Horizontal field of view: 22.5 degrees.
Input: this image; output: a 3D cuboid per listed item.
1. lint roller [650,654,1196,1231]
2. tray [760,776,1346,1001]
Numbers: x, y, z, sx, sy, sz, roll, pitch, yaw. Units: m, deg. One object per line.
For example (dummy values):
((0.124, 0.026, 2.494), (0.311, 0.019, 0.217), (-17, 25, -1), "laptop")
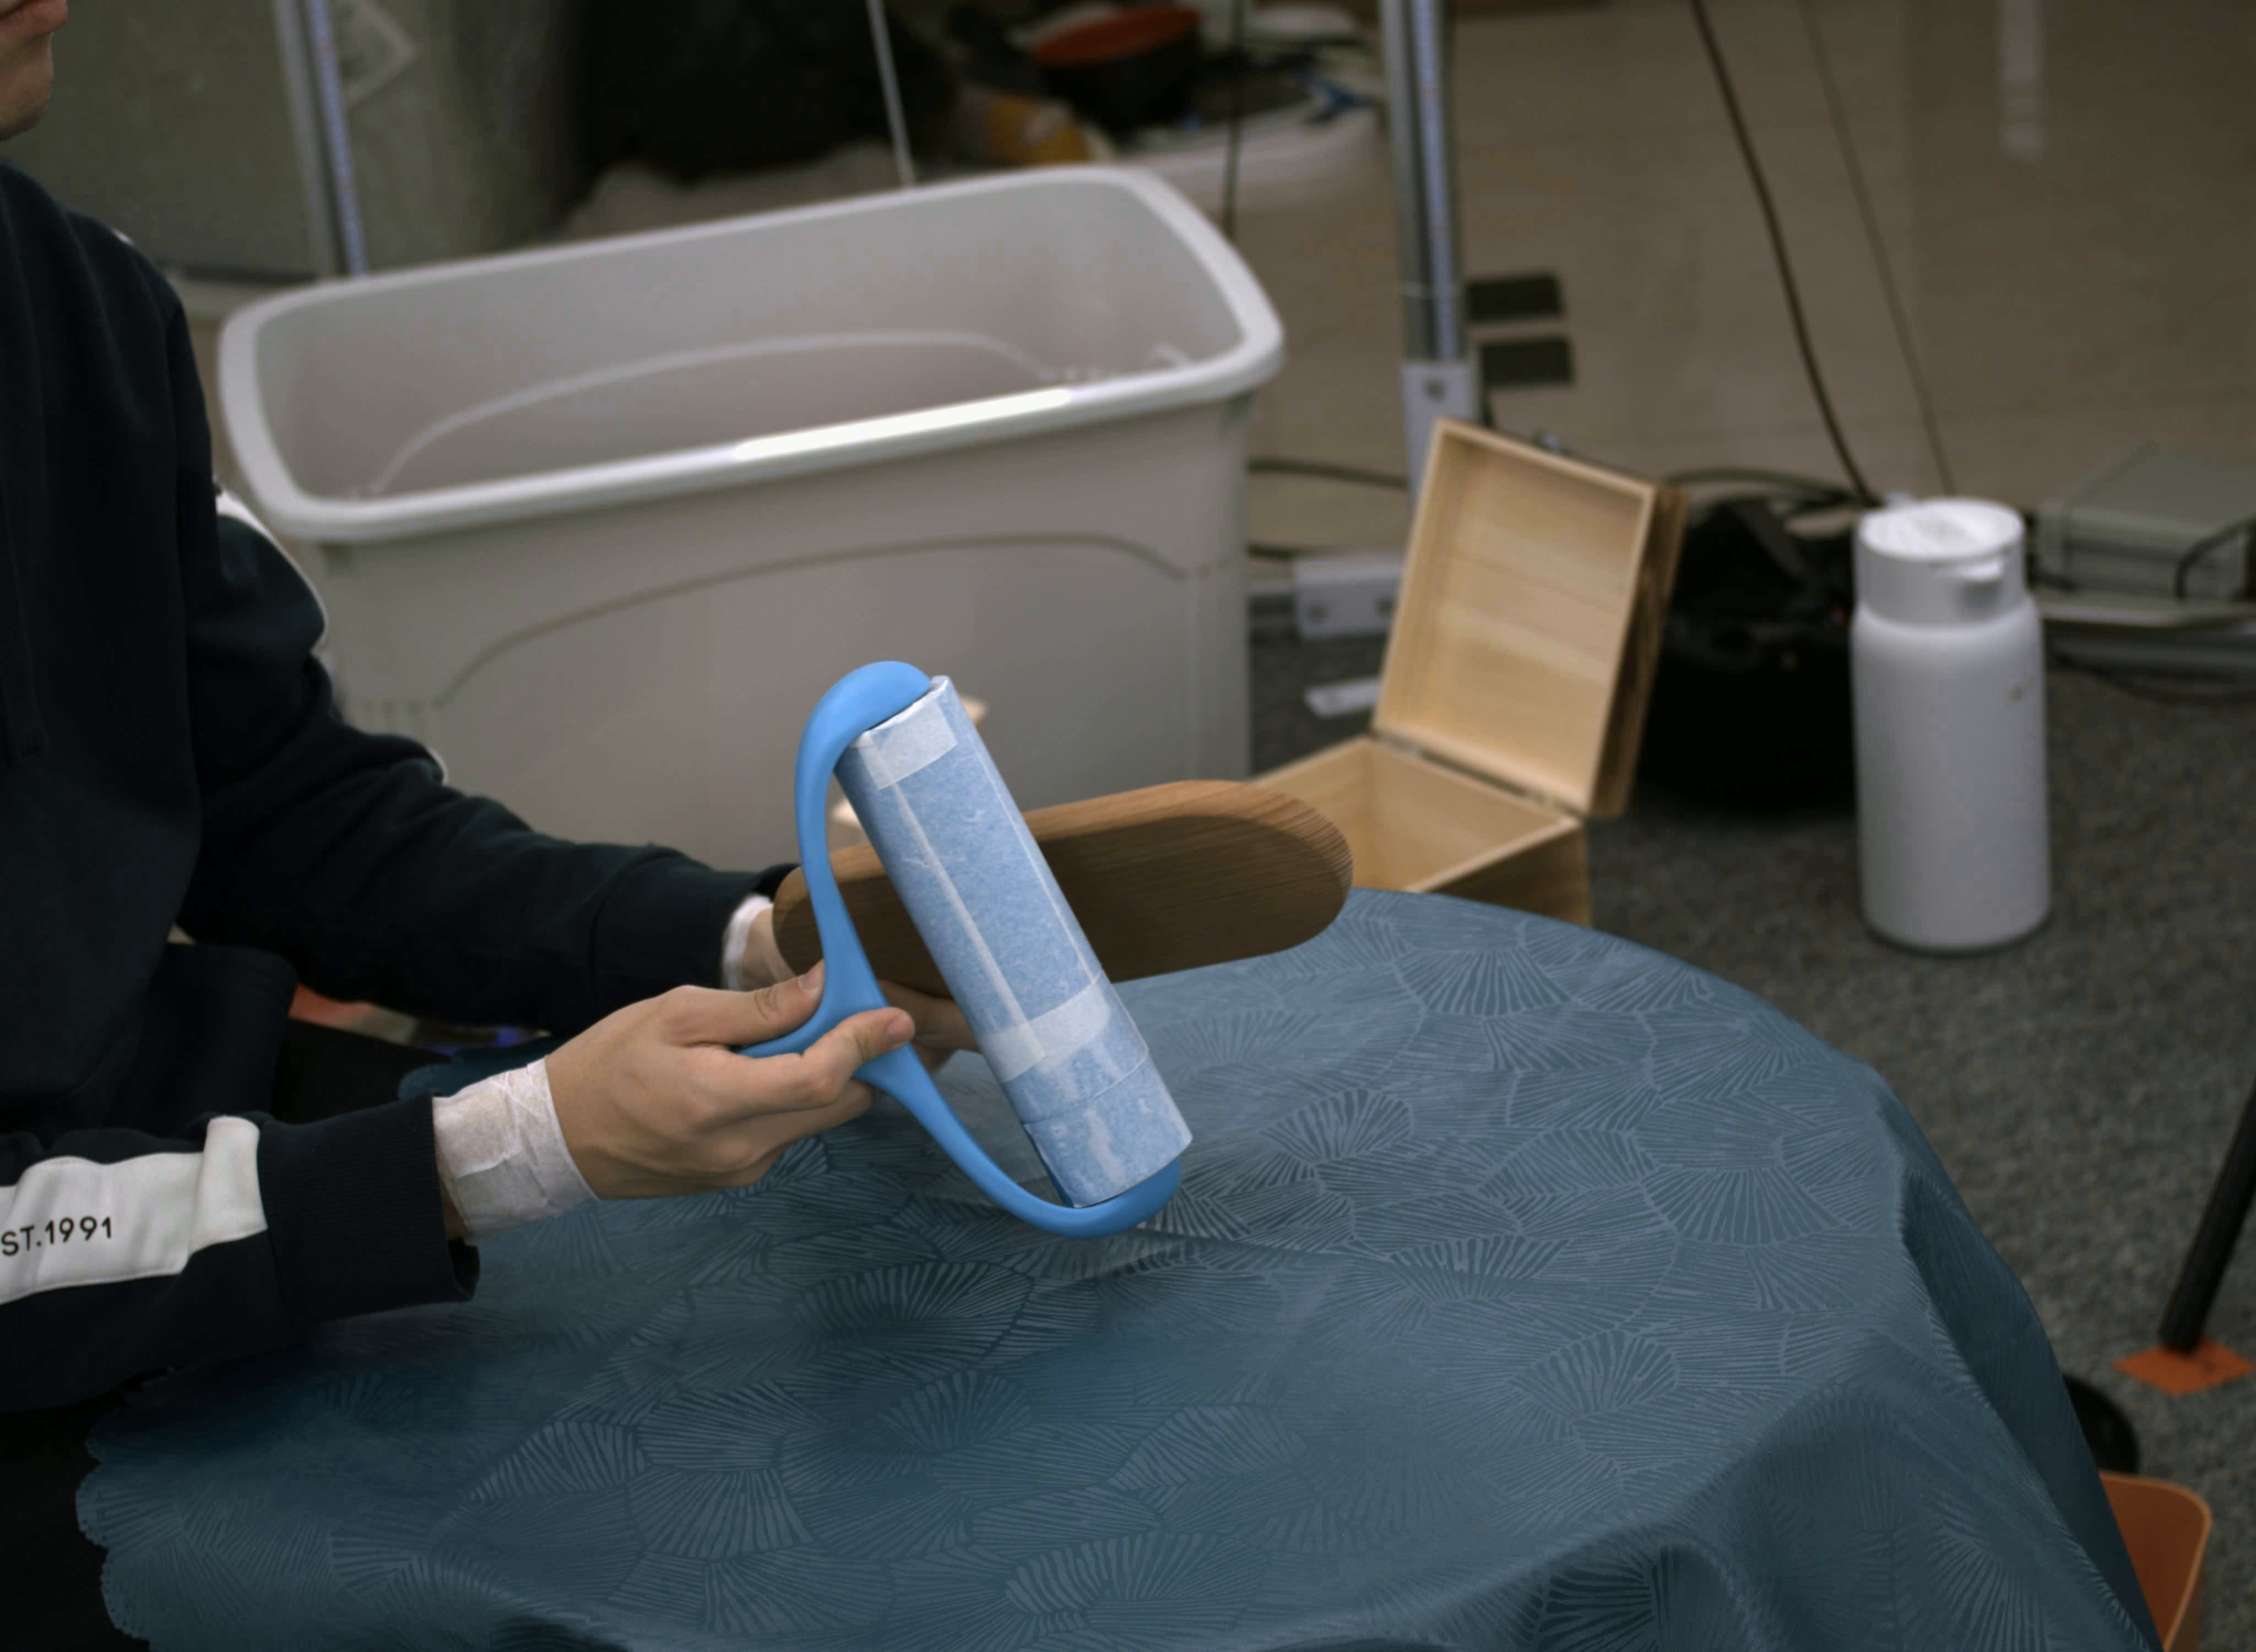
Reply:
((-0.095, 0.070, 2.055), (0.180, 0.231, 0.067), (-29, 13, 9), "lint roller")
((-0.030, 0.029, 2.130), (0.231, 0.103, 0.020), (-12, 50, 19), "tray")
